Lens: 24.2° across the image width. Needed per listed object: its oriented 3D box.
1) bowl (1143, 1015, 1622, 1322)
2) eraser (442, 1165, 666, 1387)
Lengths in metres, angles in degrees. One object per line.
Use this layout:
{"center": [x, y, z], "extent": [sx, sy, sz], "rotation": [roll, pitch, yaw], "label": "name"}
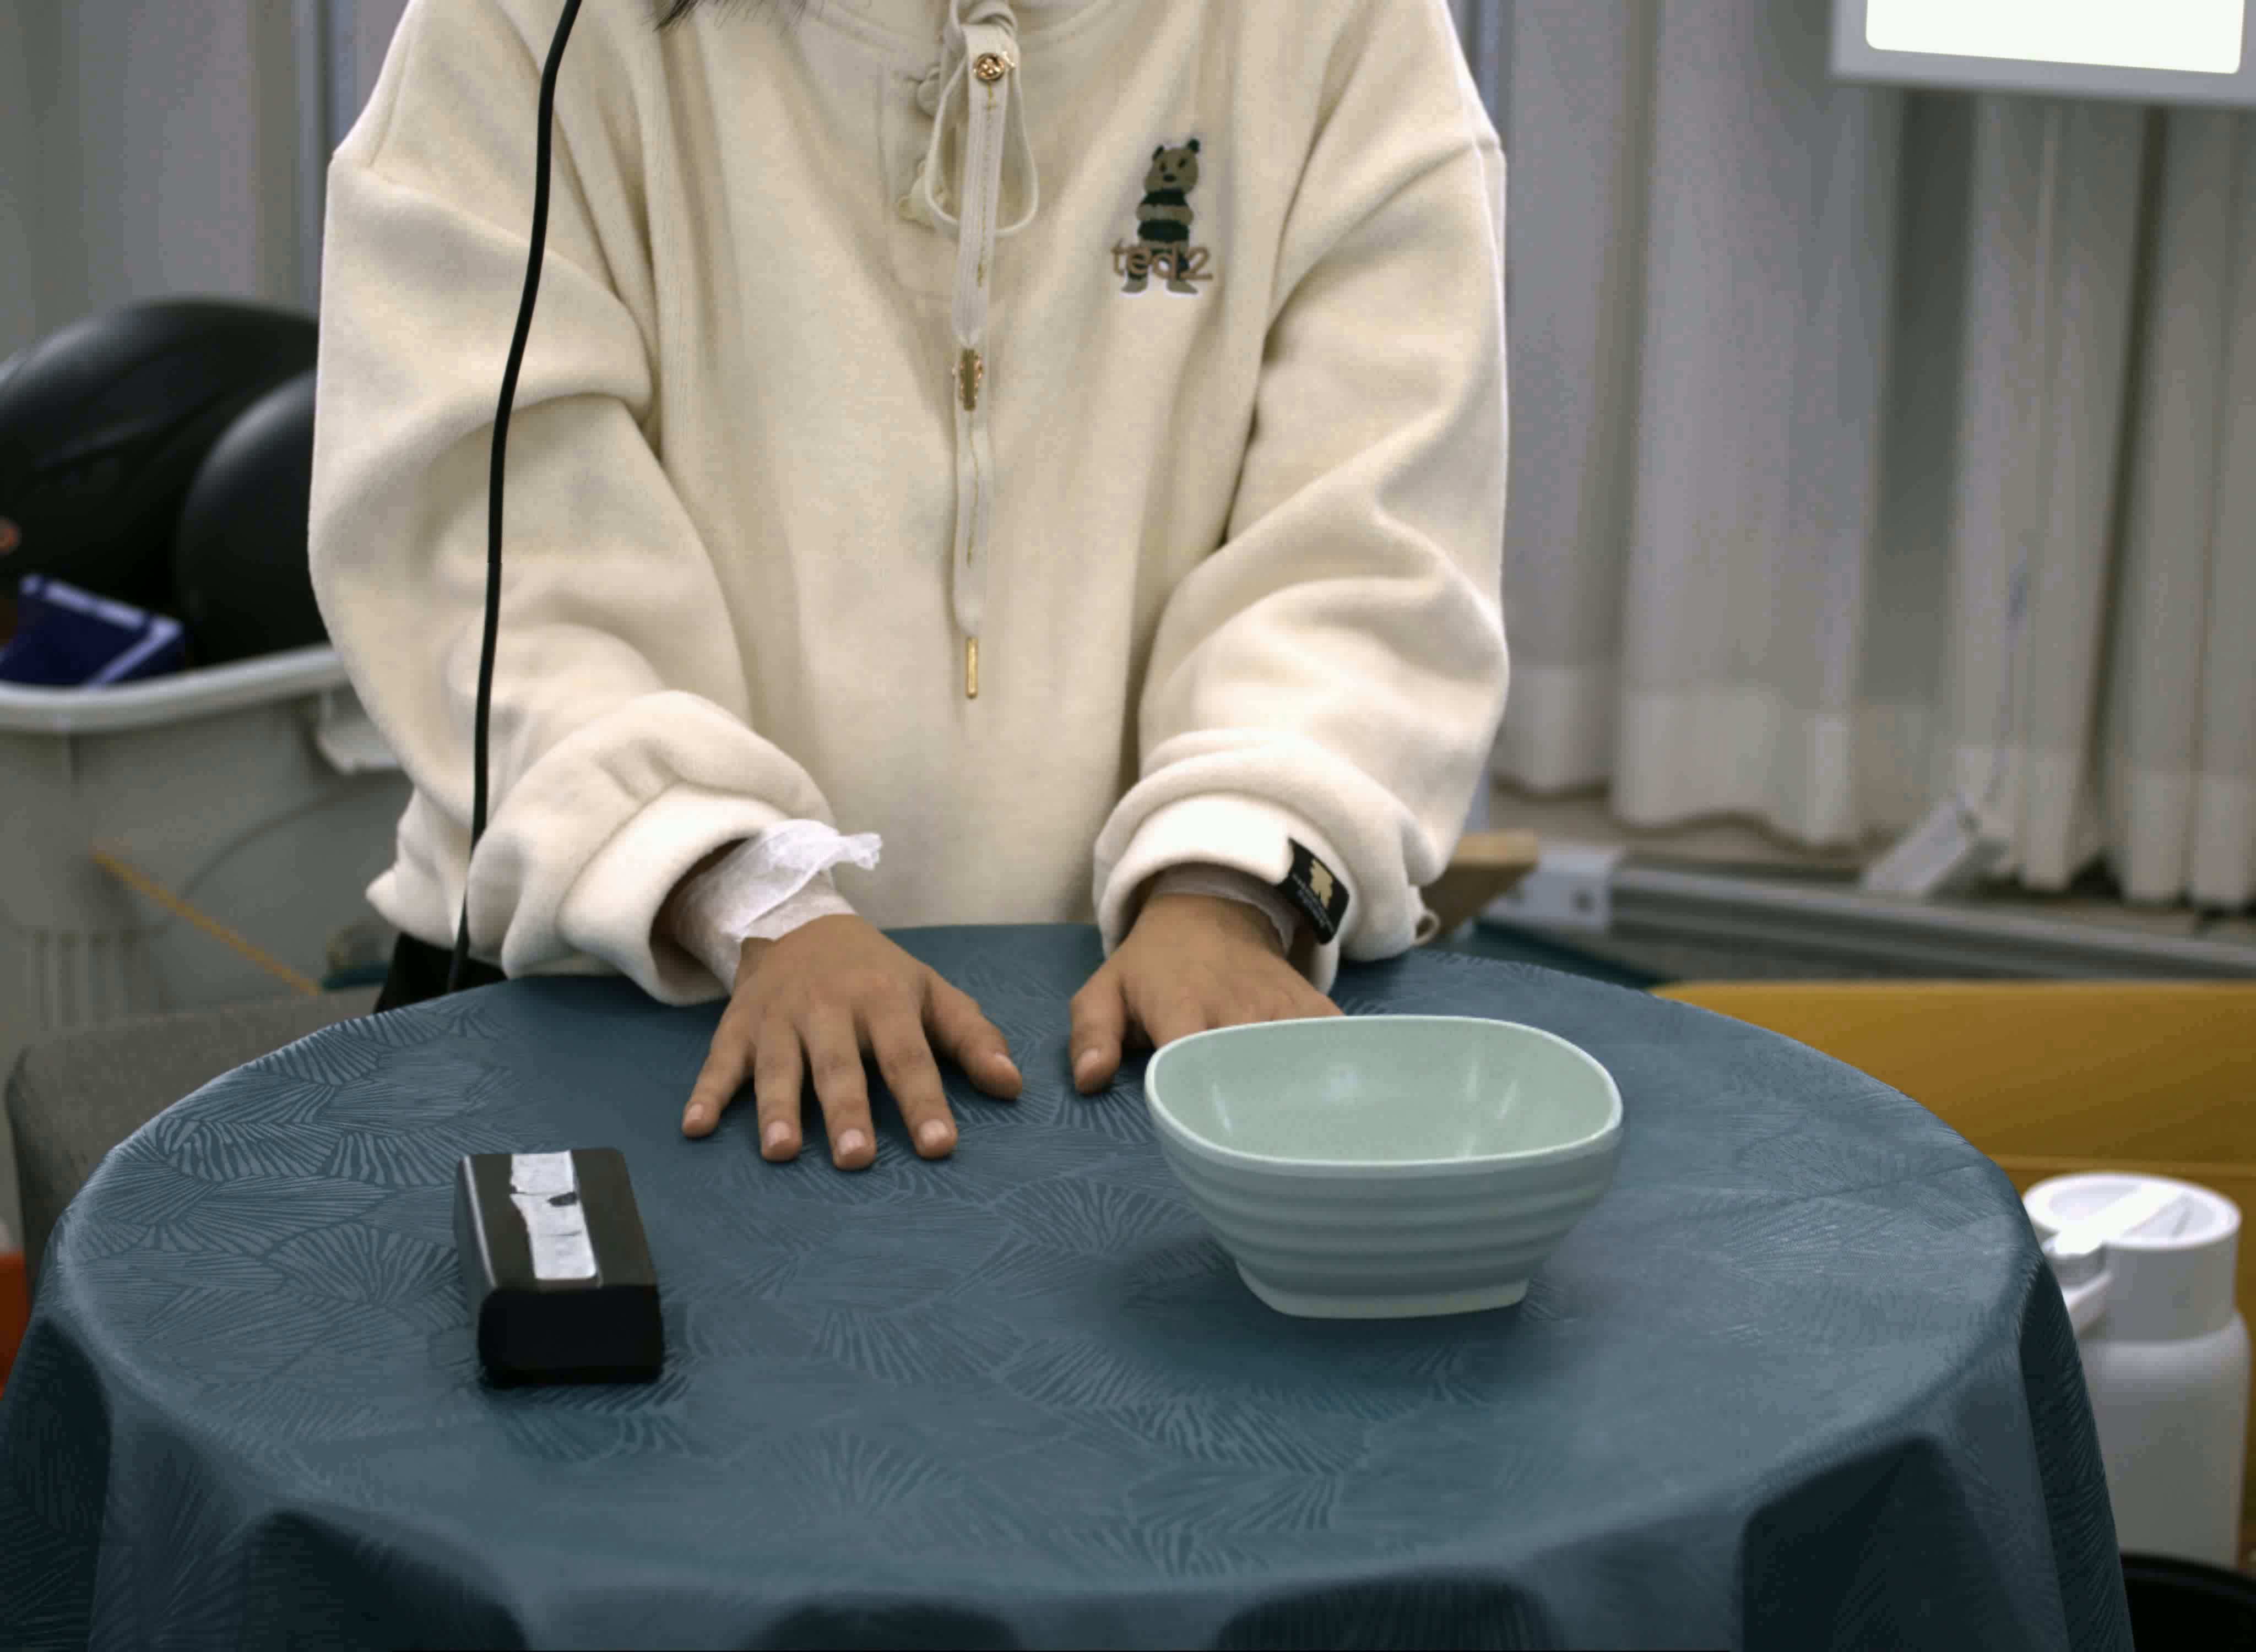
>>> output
{"center": [0.073, 0.104, 1.549], "extent": [0.151, 0.059, 0.150], "rotation": [3, 16, 0], "label": "bowl"}
{"center": [-0.165, 0.128, 1.510], "extent": [0.053, 0.030, 0.124], "rotation": [-1, 13, -12], "label": "eraser"}
